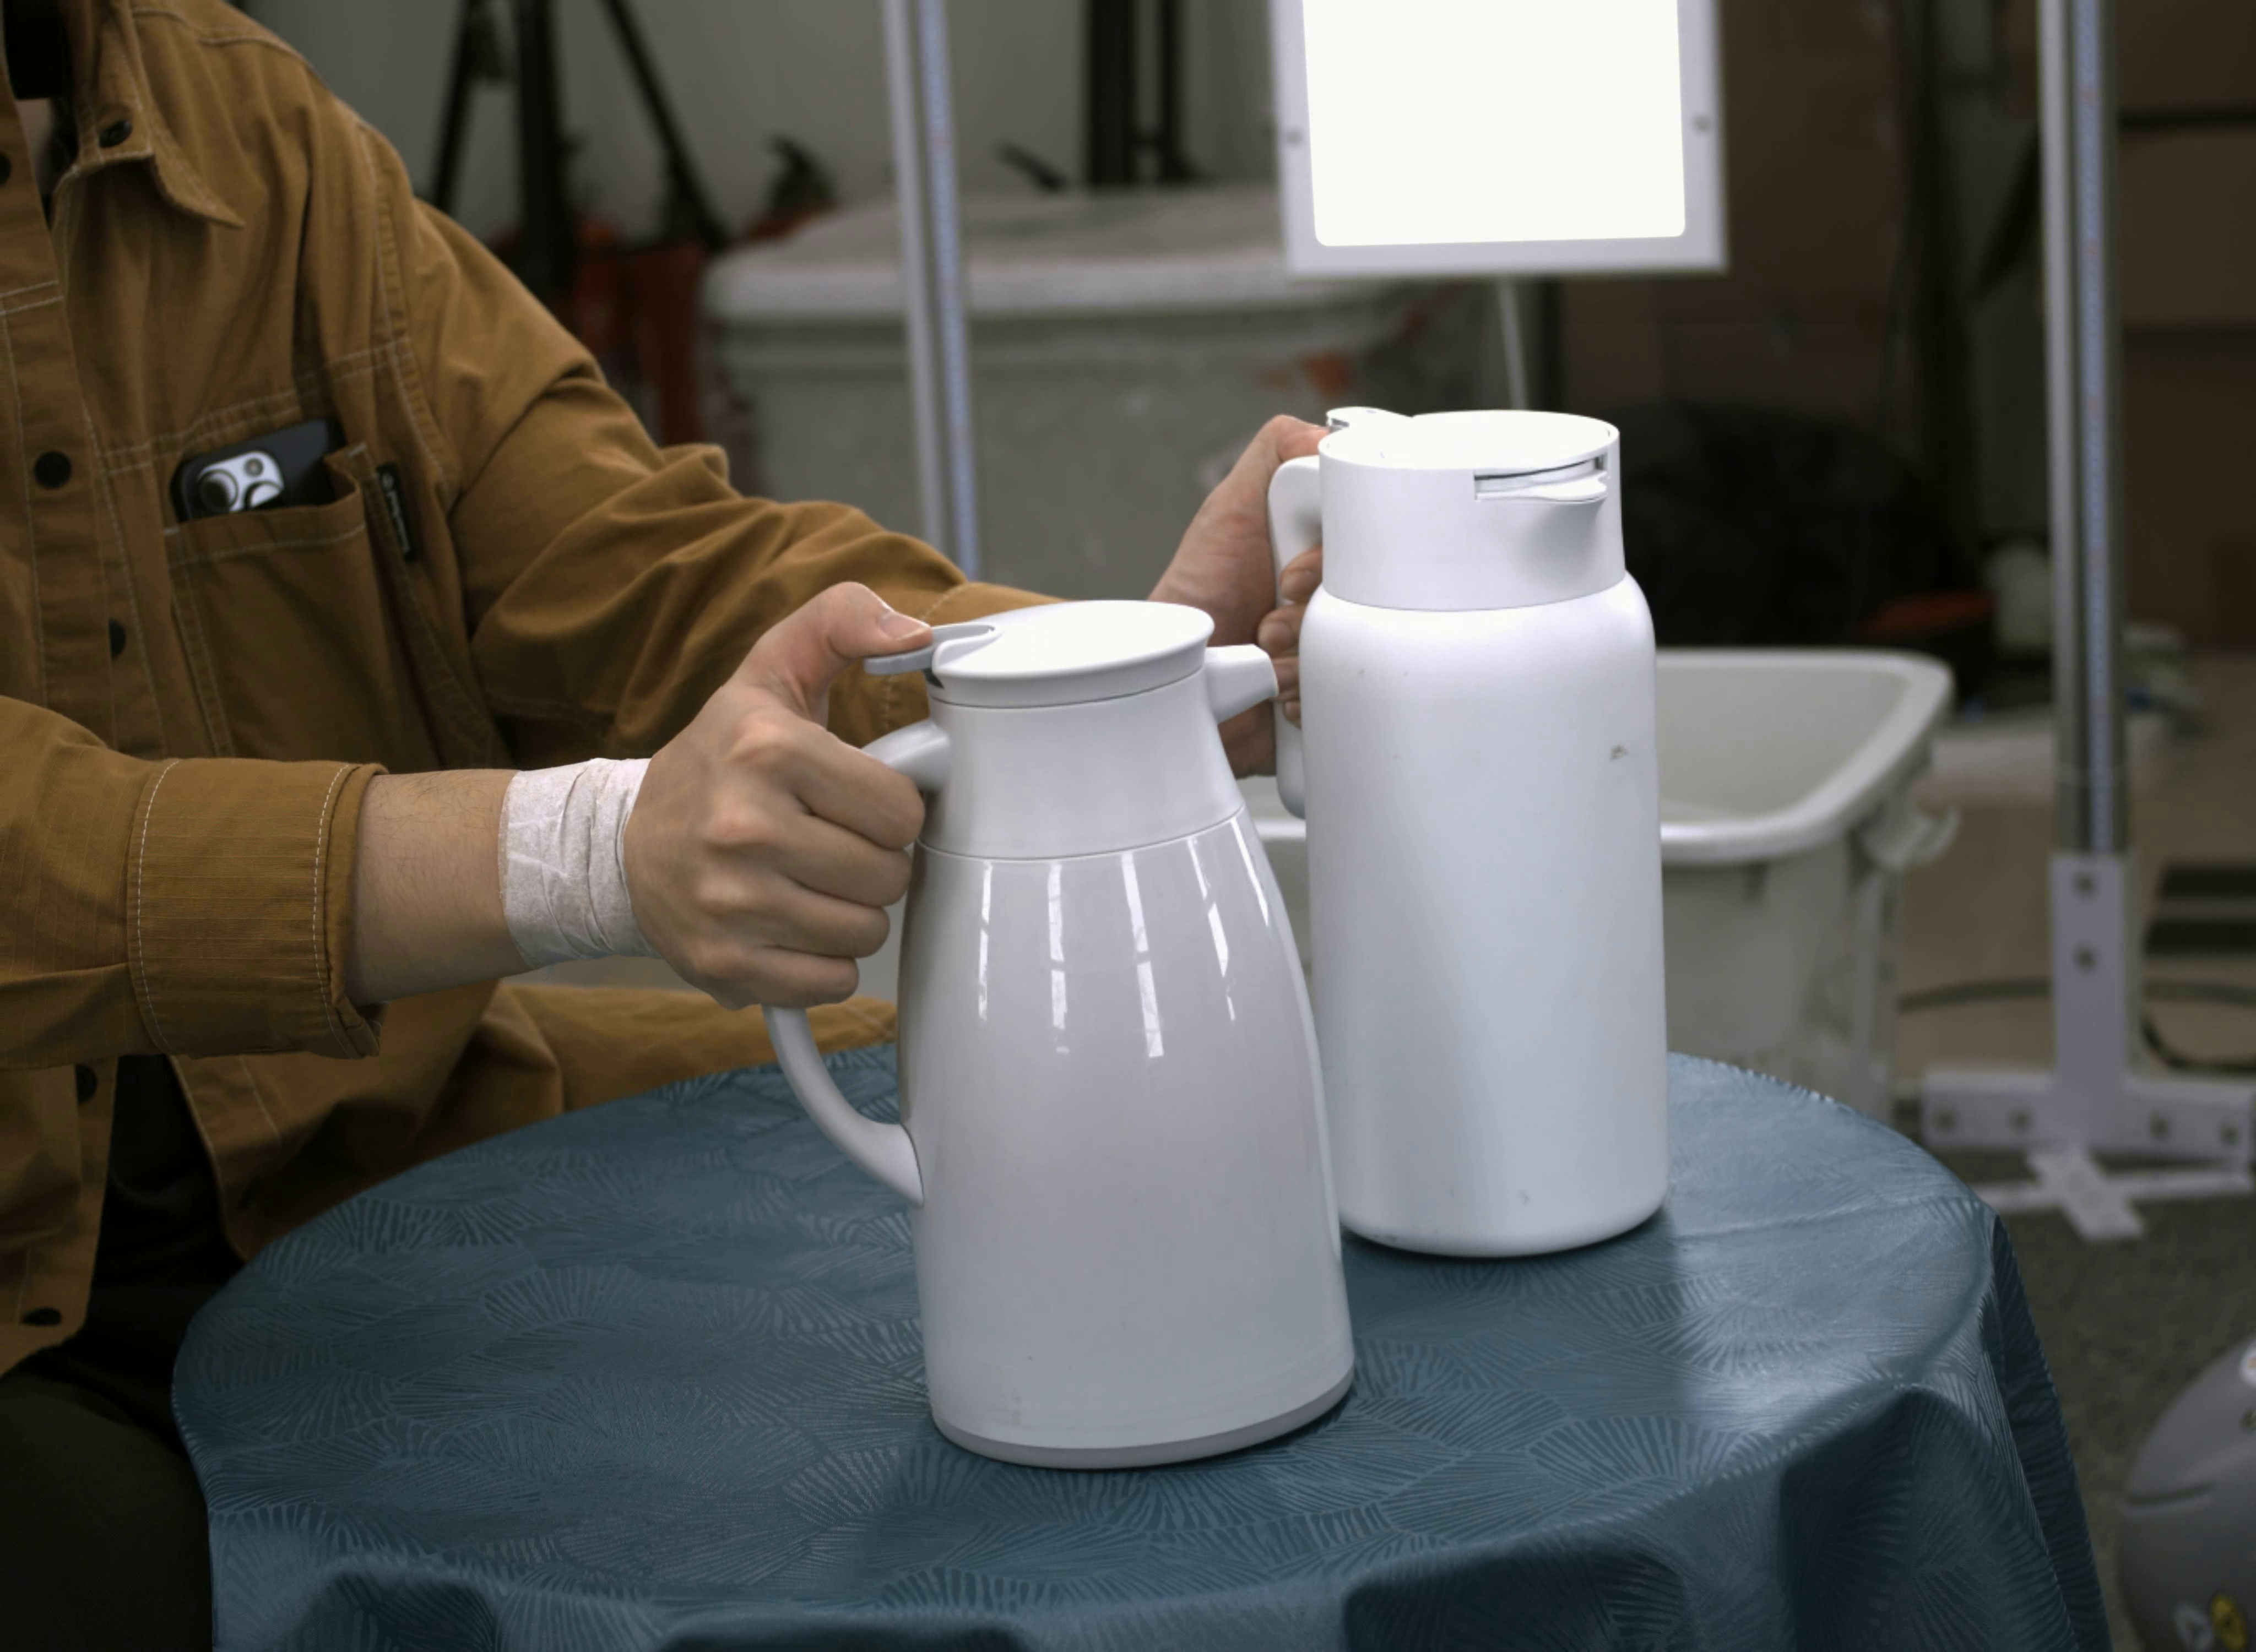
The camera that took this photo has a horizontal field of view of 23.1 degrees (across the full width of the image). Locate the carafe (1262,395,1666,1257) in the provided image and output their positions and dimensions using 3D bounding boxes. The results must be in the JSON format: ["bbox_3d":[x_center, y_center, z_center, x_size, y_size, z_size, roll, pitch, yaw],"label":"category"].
[{"bbox_3d":[0.106,-0.003,1.820,0.121,0.270,0.176,-14,18,-29],"label":"carafe"}]

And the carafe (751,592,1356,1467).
[{"bbox_3d":[-0.027,0.058,1.660,0.166,0.249,0.133,-10,14,-11],"label":"carafe"}]
